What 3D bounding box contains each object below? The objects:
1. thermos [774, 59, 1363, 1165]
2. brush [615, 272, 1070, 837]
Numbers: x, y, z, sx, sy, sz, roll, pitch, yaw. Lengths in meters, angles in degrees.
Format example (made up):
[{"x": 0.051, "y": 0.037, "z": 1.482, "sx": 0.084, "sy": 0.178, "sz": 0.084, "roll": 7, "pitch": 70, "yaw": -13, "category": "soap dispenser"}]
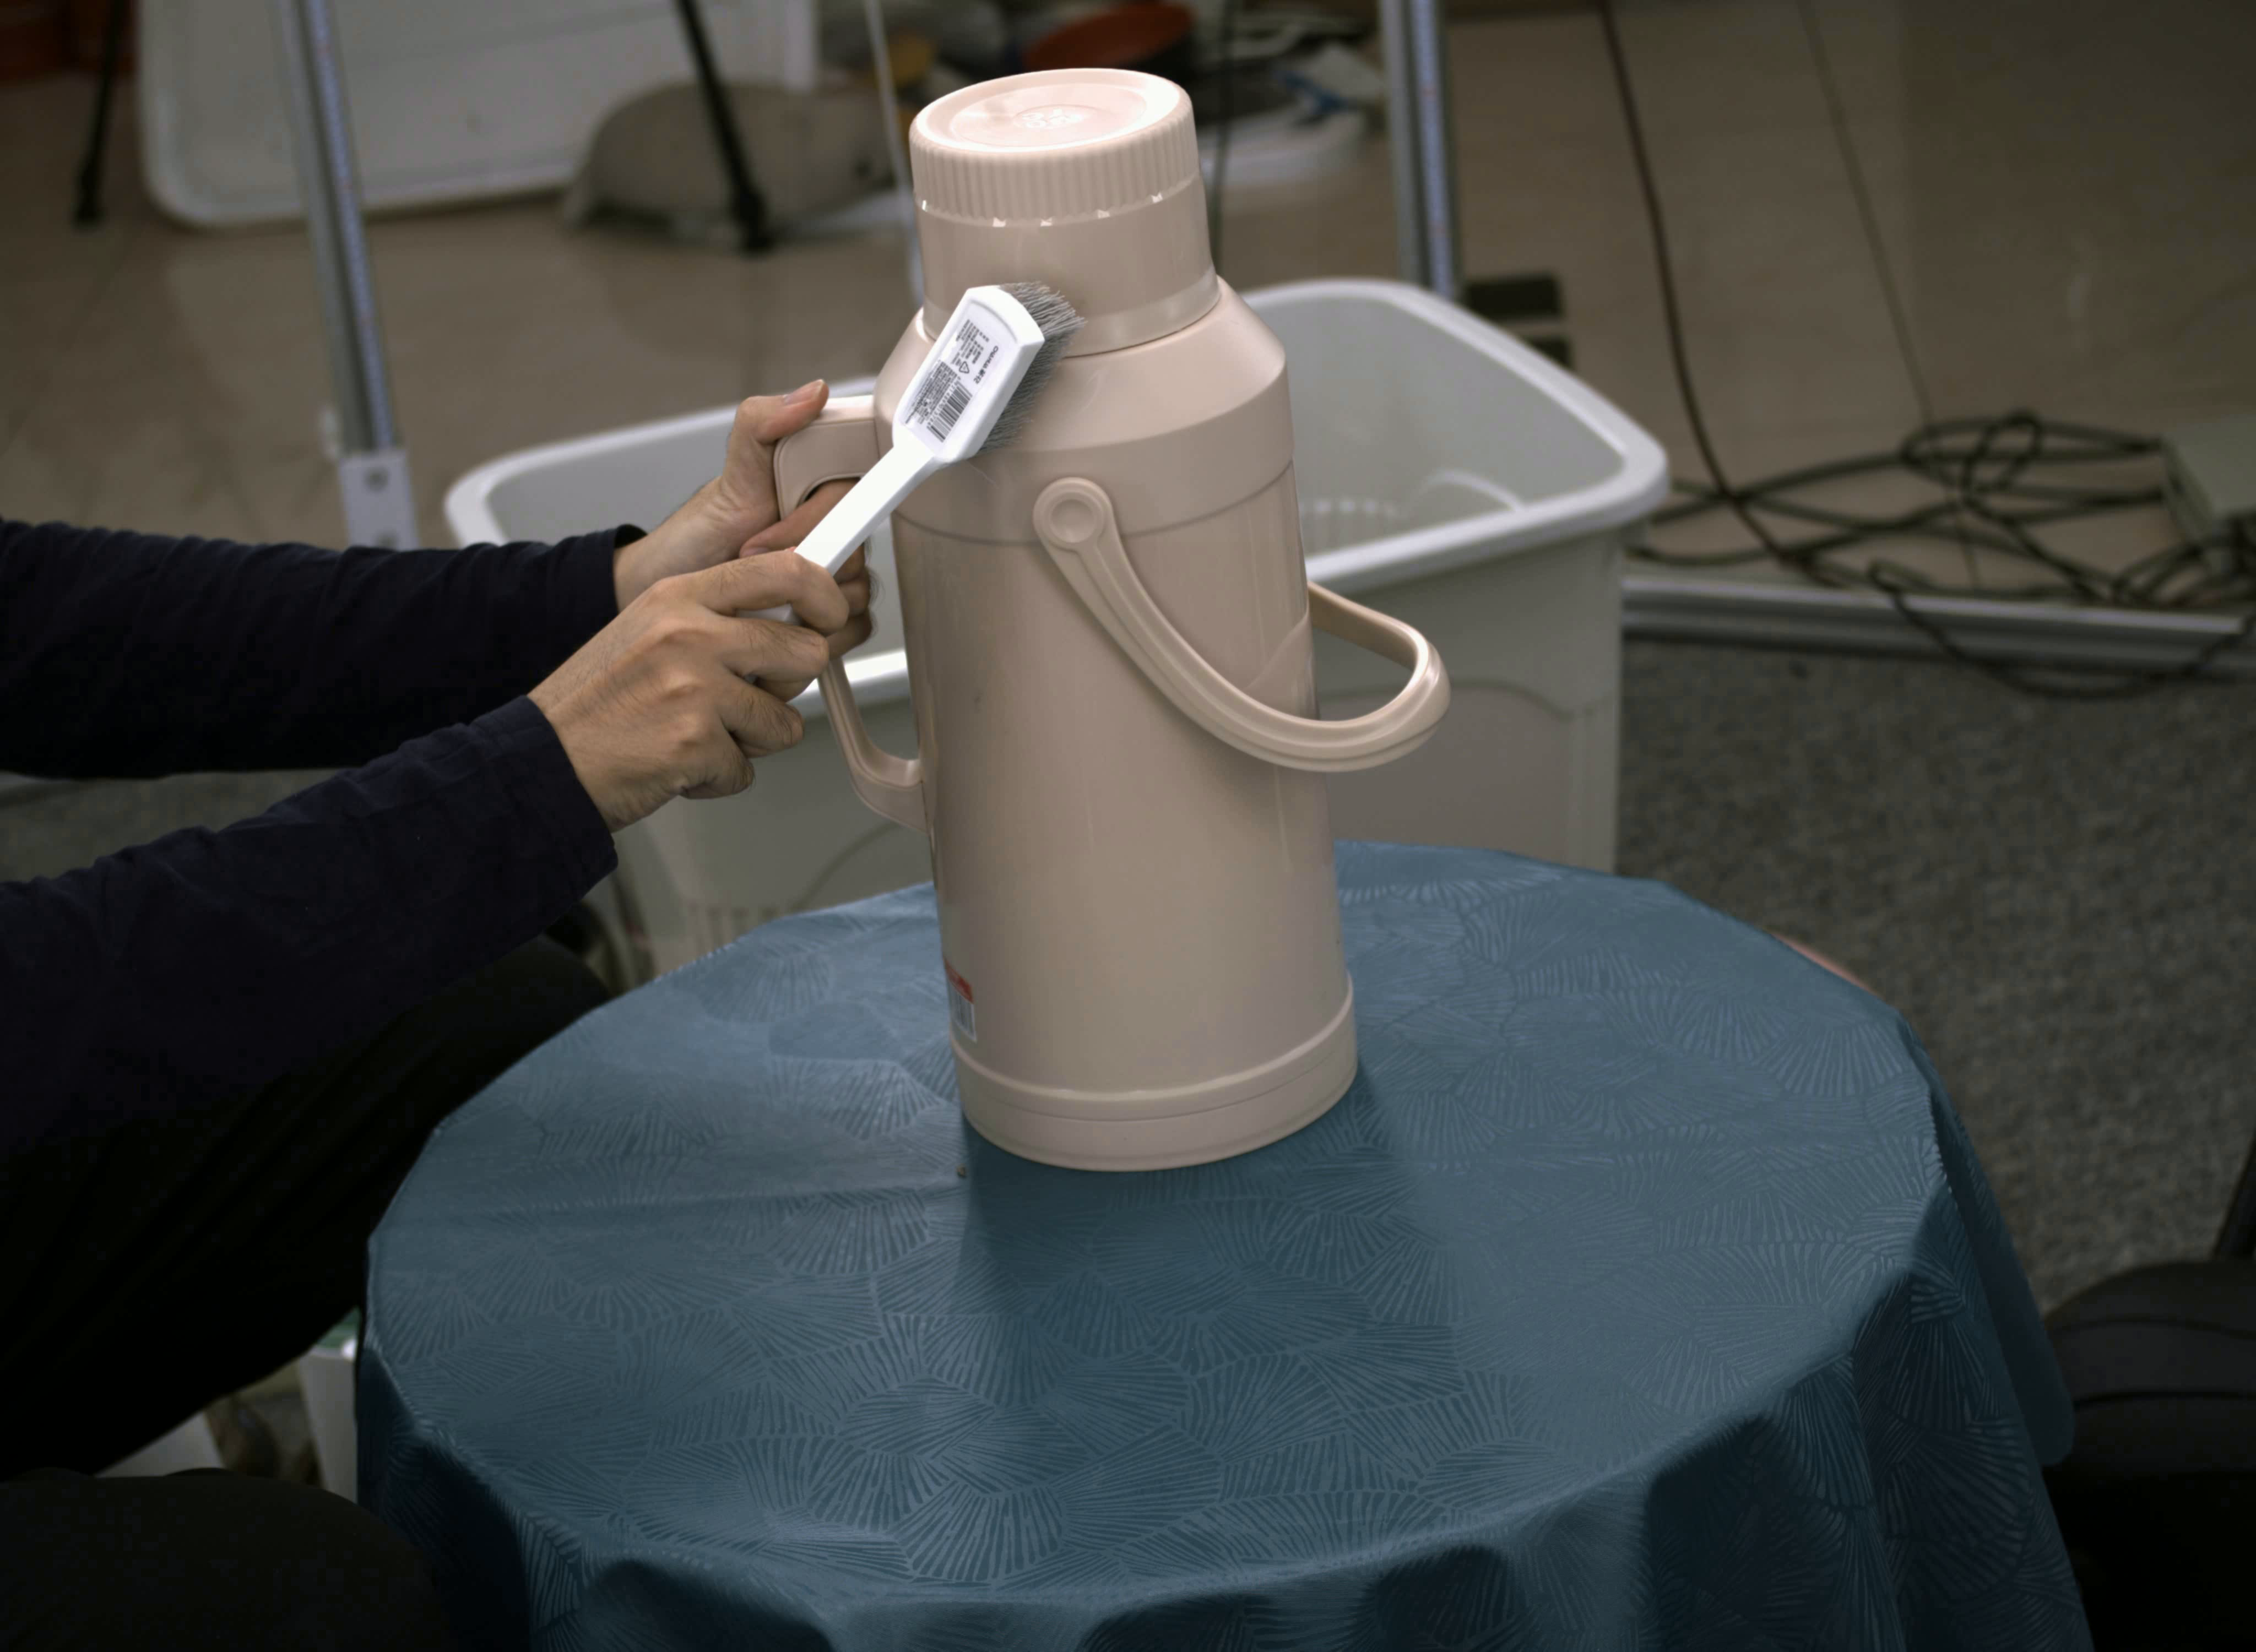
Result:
[{"x": -0.021, "y": -0.081, "z": 2.148, "sx": 0.207, "sy": 0.413, "sz": 0.172, "roll": -5, "pitch": 28, "yaw": 4, "category": "thermos"}, {"x": -0.103, "y": -0.095, "z": 2.028, "sx": 0.034, "sy": 0.245, "sz": 0.050, "roll": 39, "pitch": 12, "yaw": 14, "category": "brush"}]
